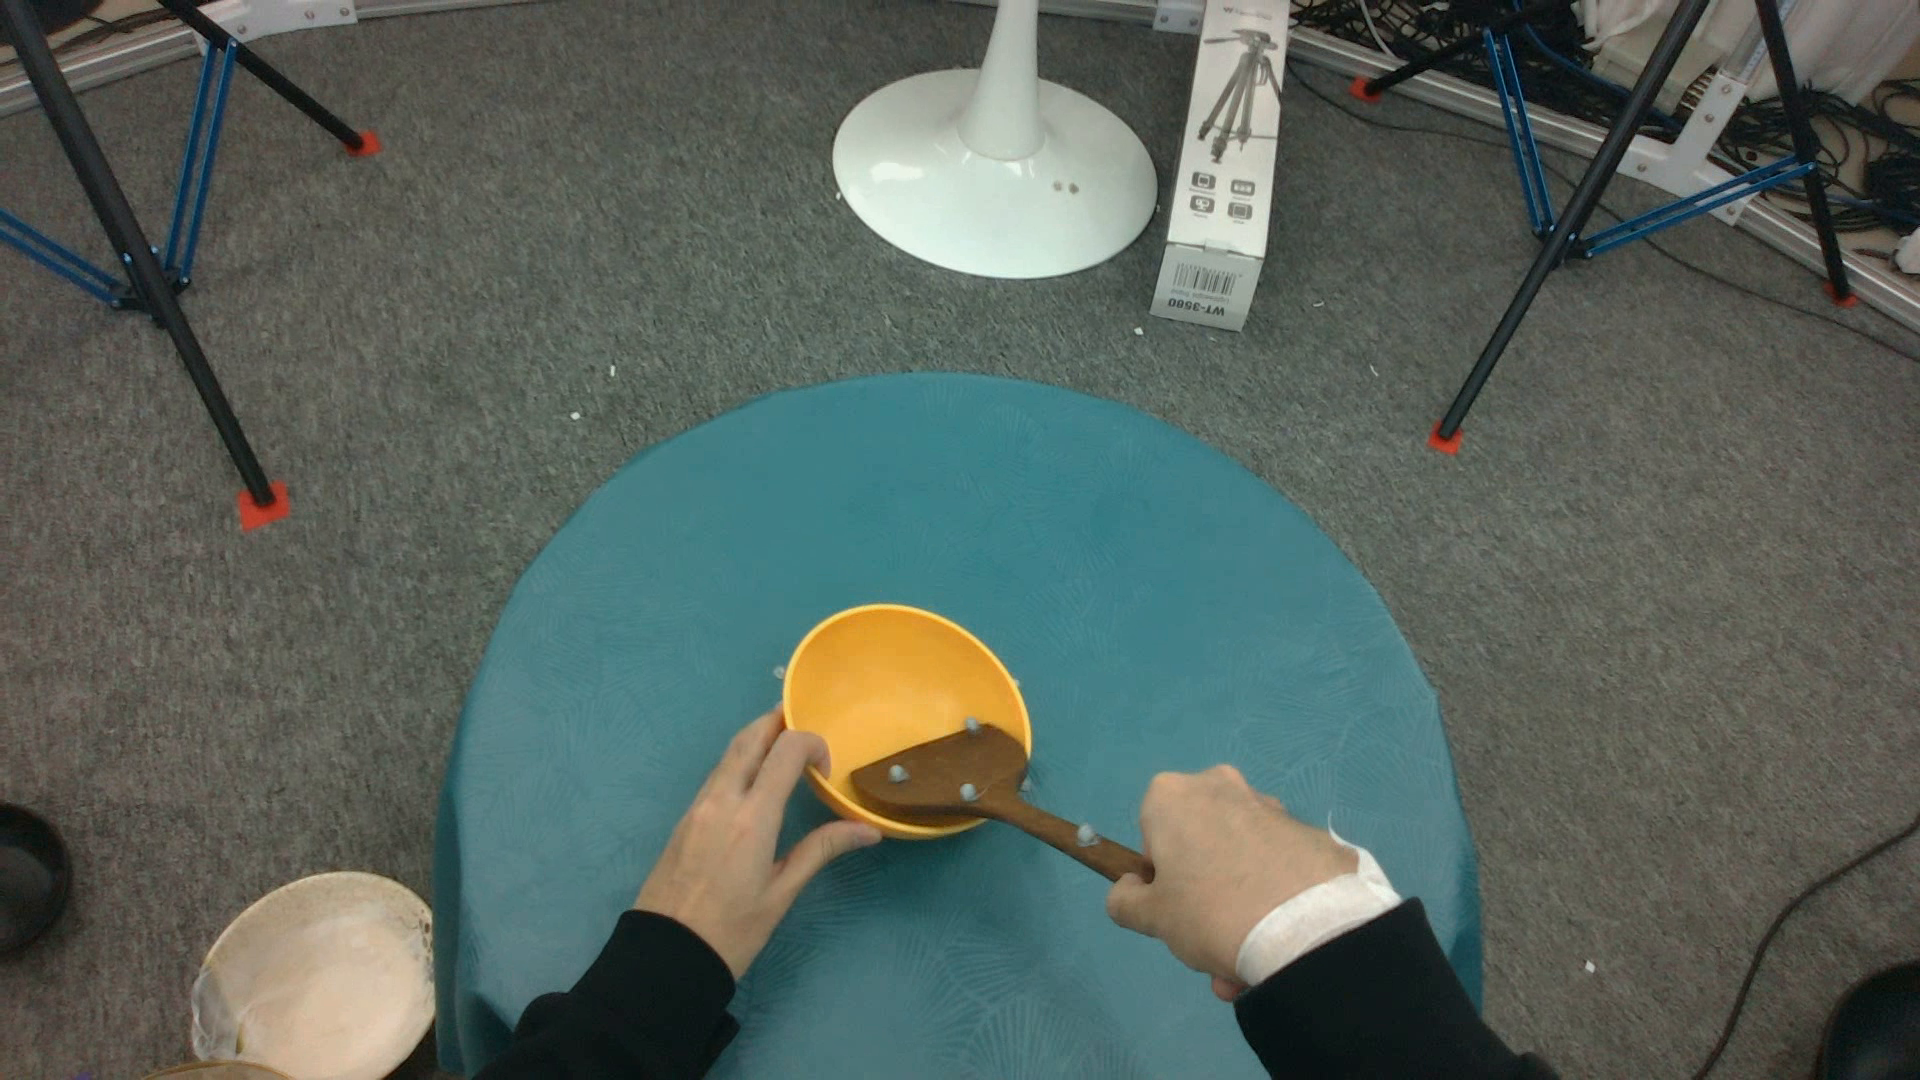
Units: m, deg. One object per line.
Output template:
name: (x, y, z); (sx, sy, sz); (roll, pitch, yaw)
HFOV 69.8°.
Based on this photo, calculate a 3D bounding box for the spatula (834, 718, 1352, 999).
spatula: (0.045, 0.133, 0.630); (0.096, 0.385, 0.016); (-15, 100, -23)

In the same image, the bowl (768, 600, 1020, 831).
bowl: (-0.044, 0.109, 0.783); (0.145, 0.060, 0.146); (12, 49, -15)
